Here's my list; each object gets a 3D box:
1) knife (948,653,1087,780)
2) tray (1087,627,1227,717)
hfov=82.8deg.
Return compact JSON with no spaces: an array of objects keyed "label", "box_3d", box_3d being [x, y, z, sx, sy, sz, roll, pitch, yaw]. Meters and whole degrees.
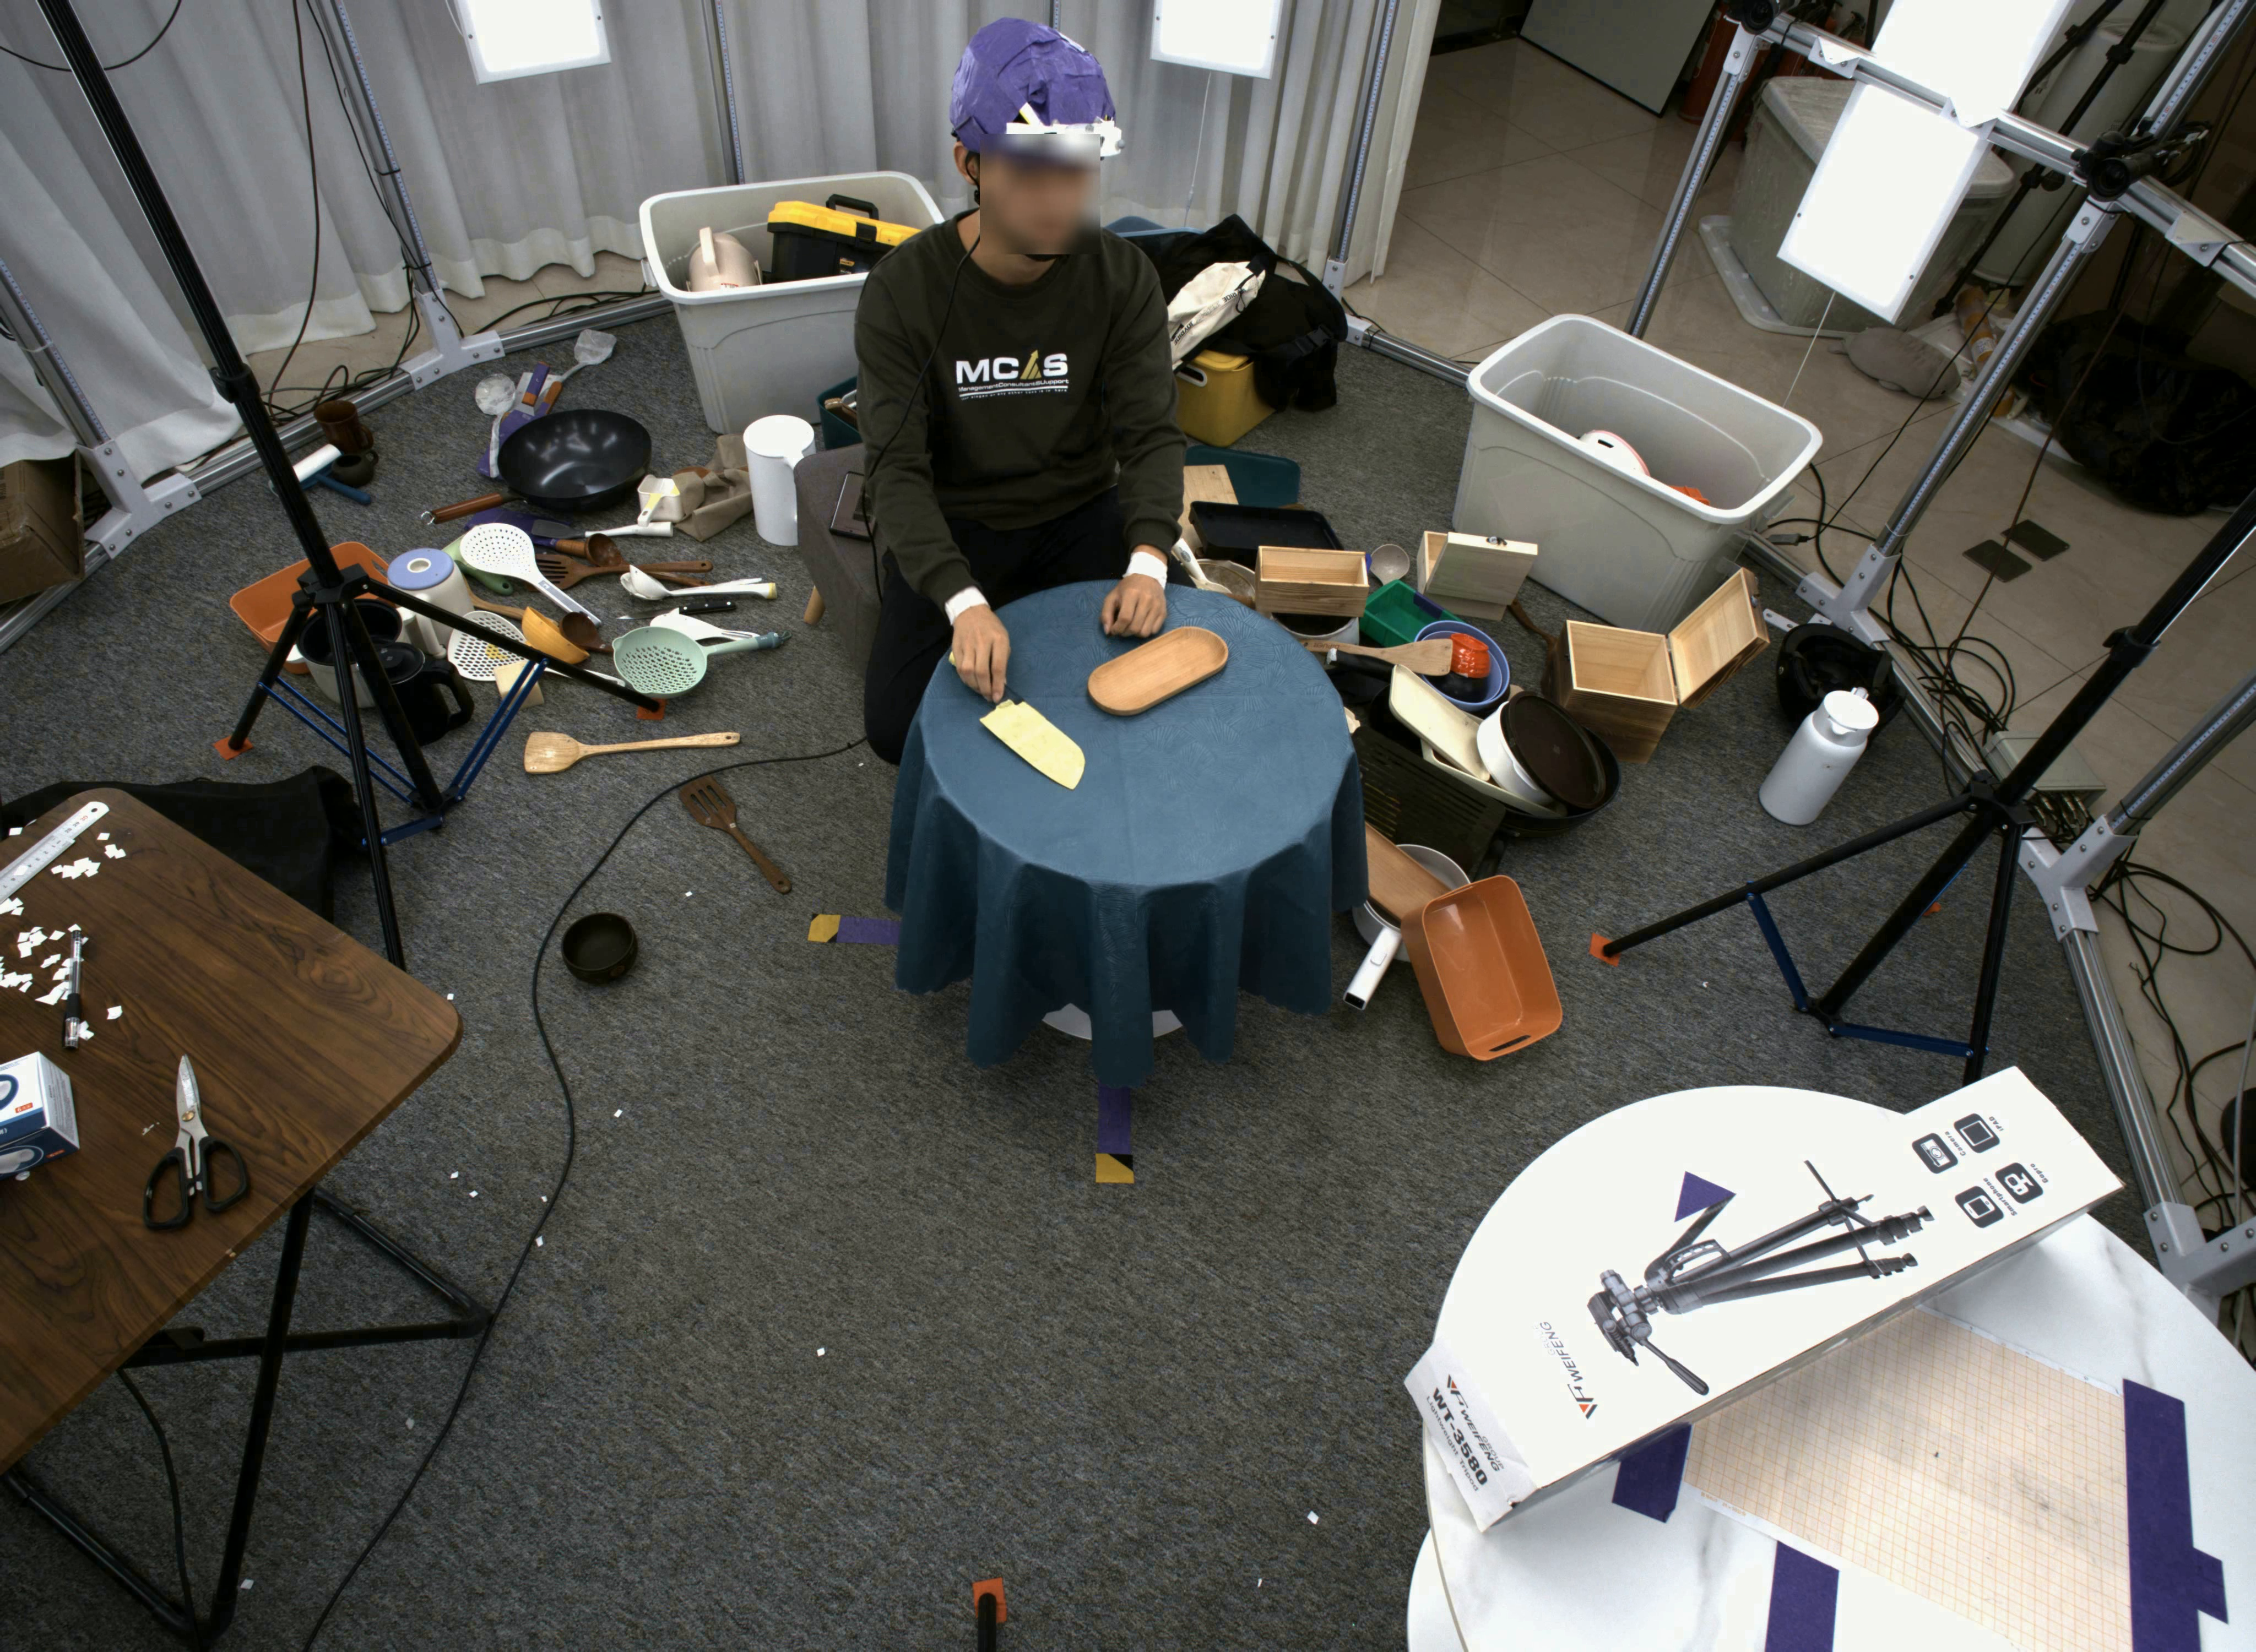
[{"label":"knife","box_3d":[-0.161,-0.151,1.775,0.081,0.026,0.294,-31,59,-32]},{"label":"tray","box_3d":[0.043,-0.223,1.853,0.232,0.020,0.103,-30,56,-25]}]
